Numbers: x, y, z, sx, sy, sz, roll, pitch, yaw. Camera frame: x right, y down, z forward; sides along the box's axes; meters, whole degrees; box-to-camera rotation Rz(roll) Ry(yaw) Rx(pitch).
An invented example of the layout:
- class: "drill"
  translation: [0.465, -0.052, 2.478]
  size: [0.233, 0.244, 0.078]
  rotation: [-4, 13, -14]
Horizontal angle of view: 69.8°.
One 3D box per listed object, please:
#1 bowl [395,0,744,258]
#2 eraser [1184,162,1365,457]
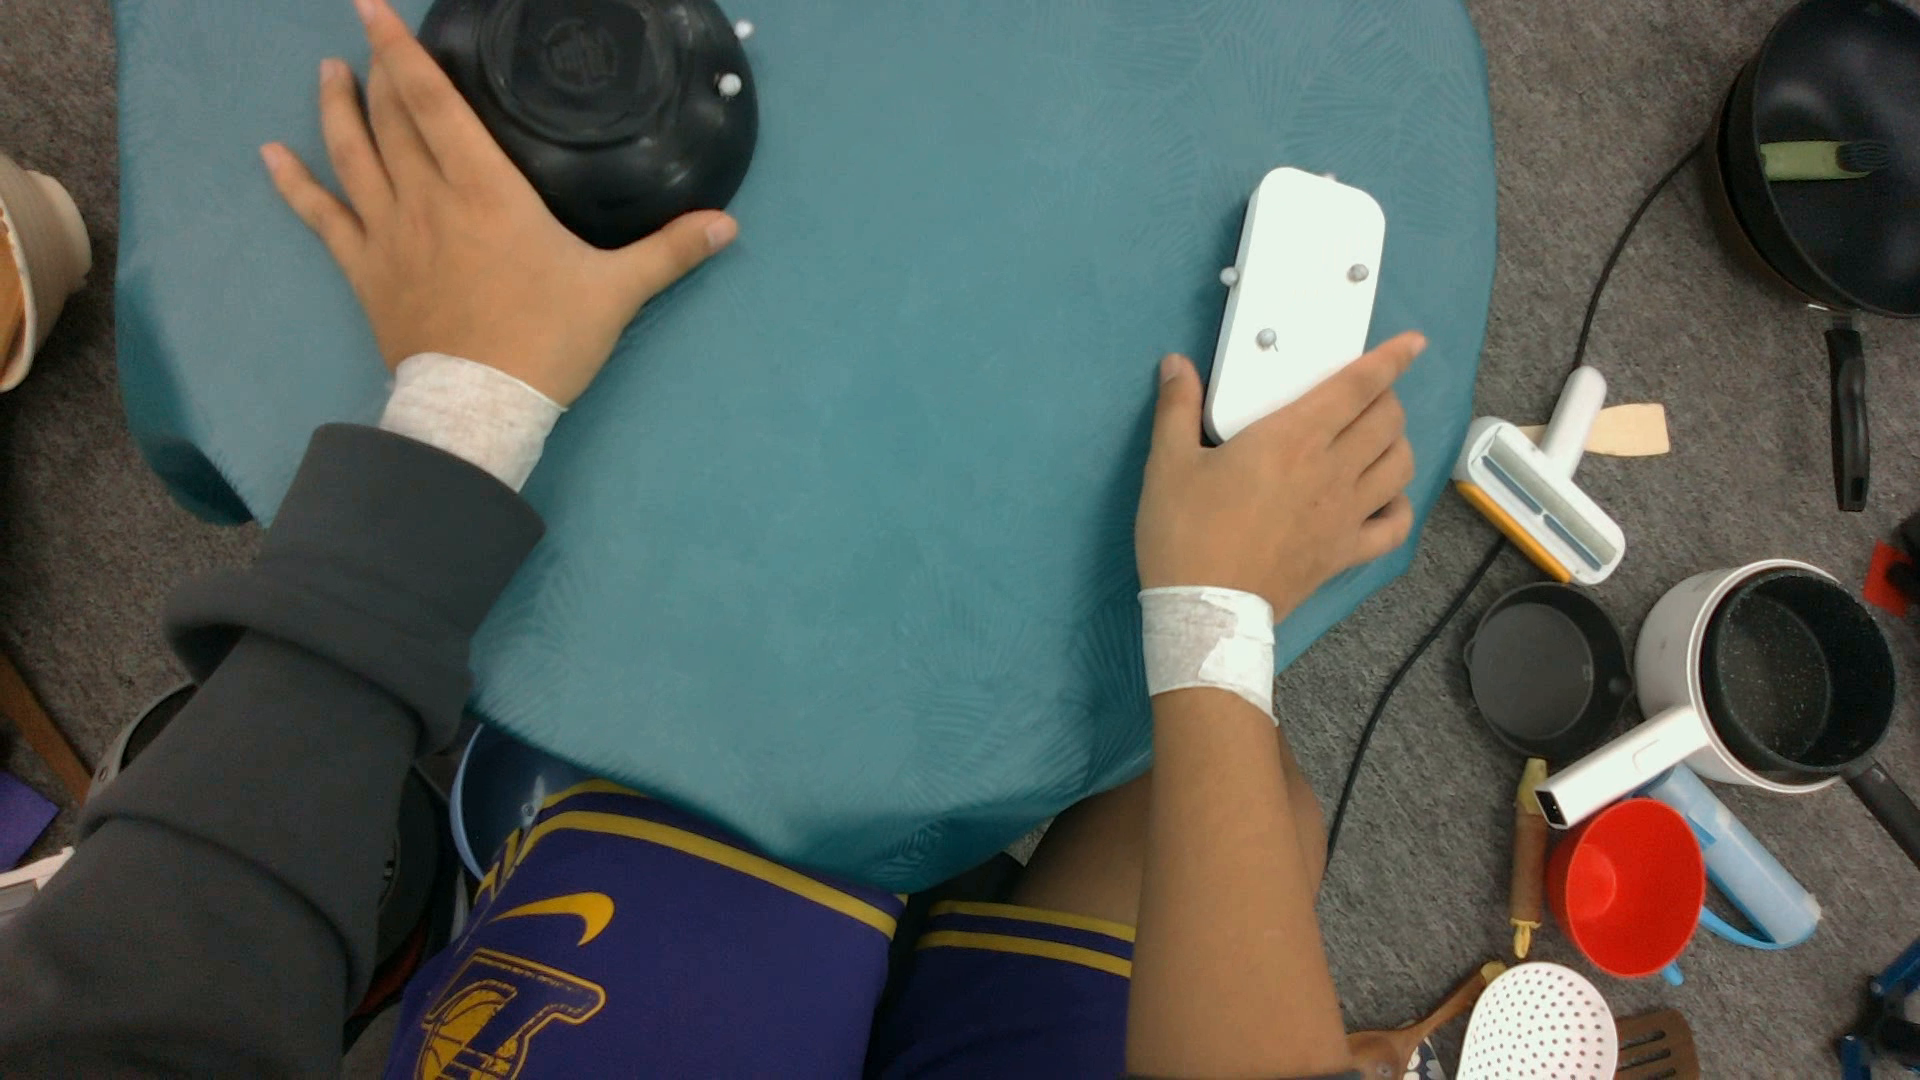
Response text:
- class: "bowl"
  translation: [-0.154, -0.186, 0.548]
  size: [0.140, 0.049, 0.140]
  rotation: [2, 82, -14]
- class: "eraser"
  translation: [0.140, -0.104, 0.618]
  size: [0.063, 0.034, 0.131]
  rotation: [16, 78, -9]
